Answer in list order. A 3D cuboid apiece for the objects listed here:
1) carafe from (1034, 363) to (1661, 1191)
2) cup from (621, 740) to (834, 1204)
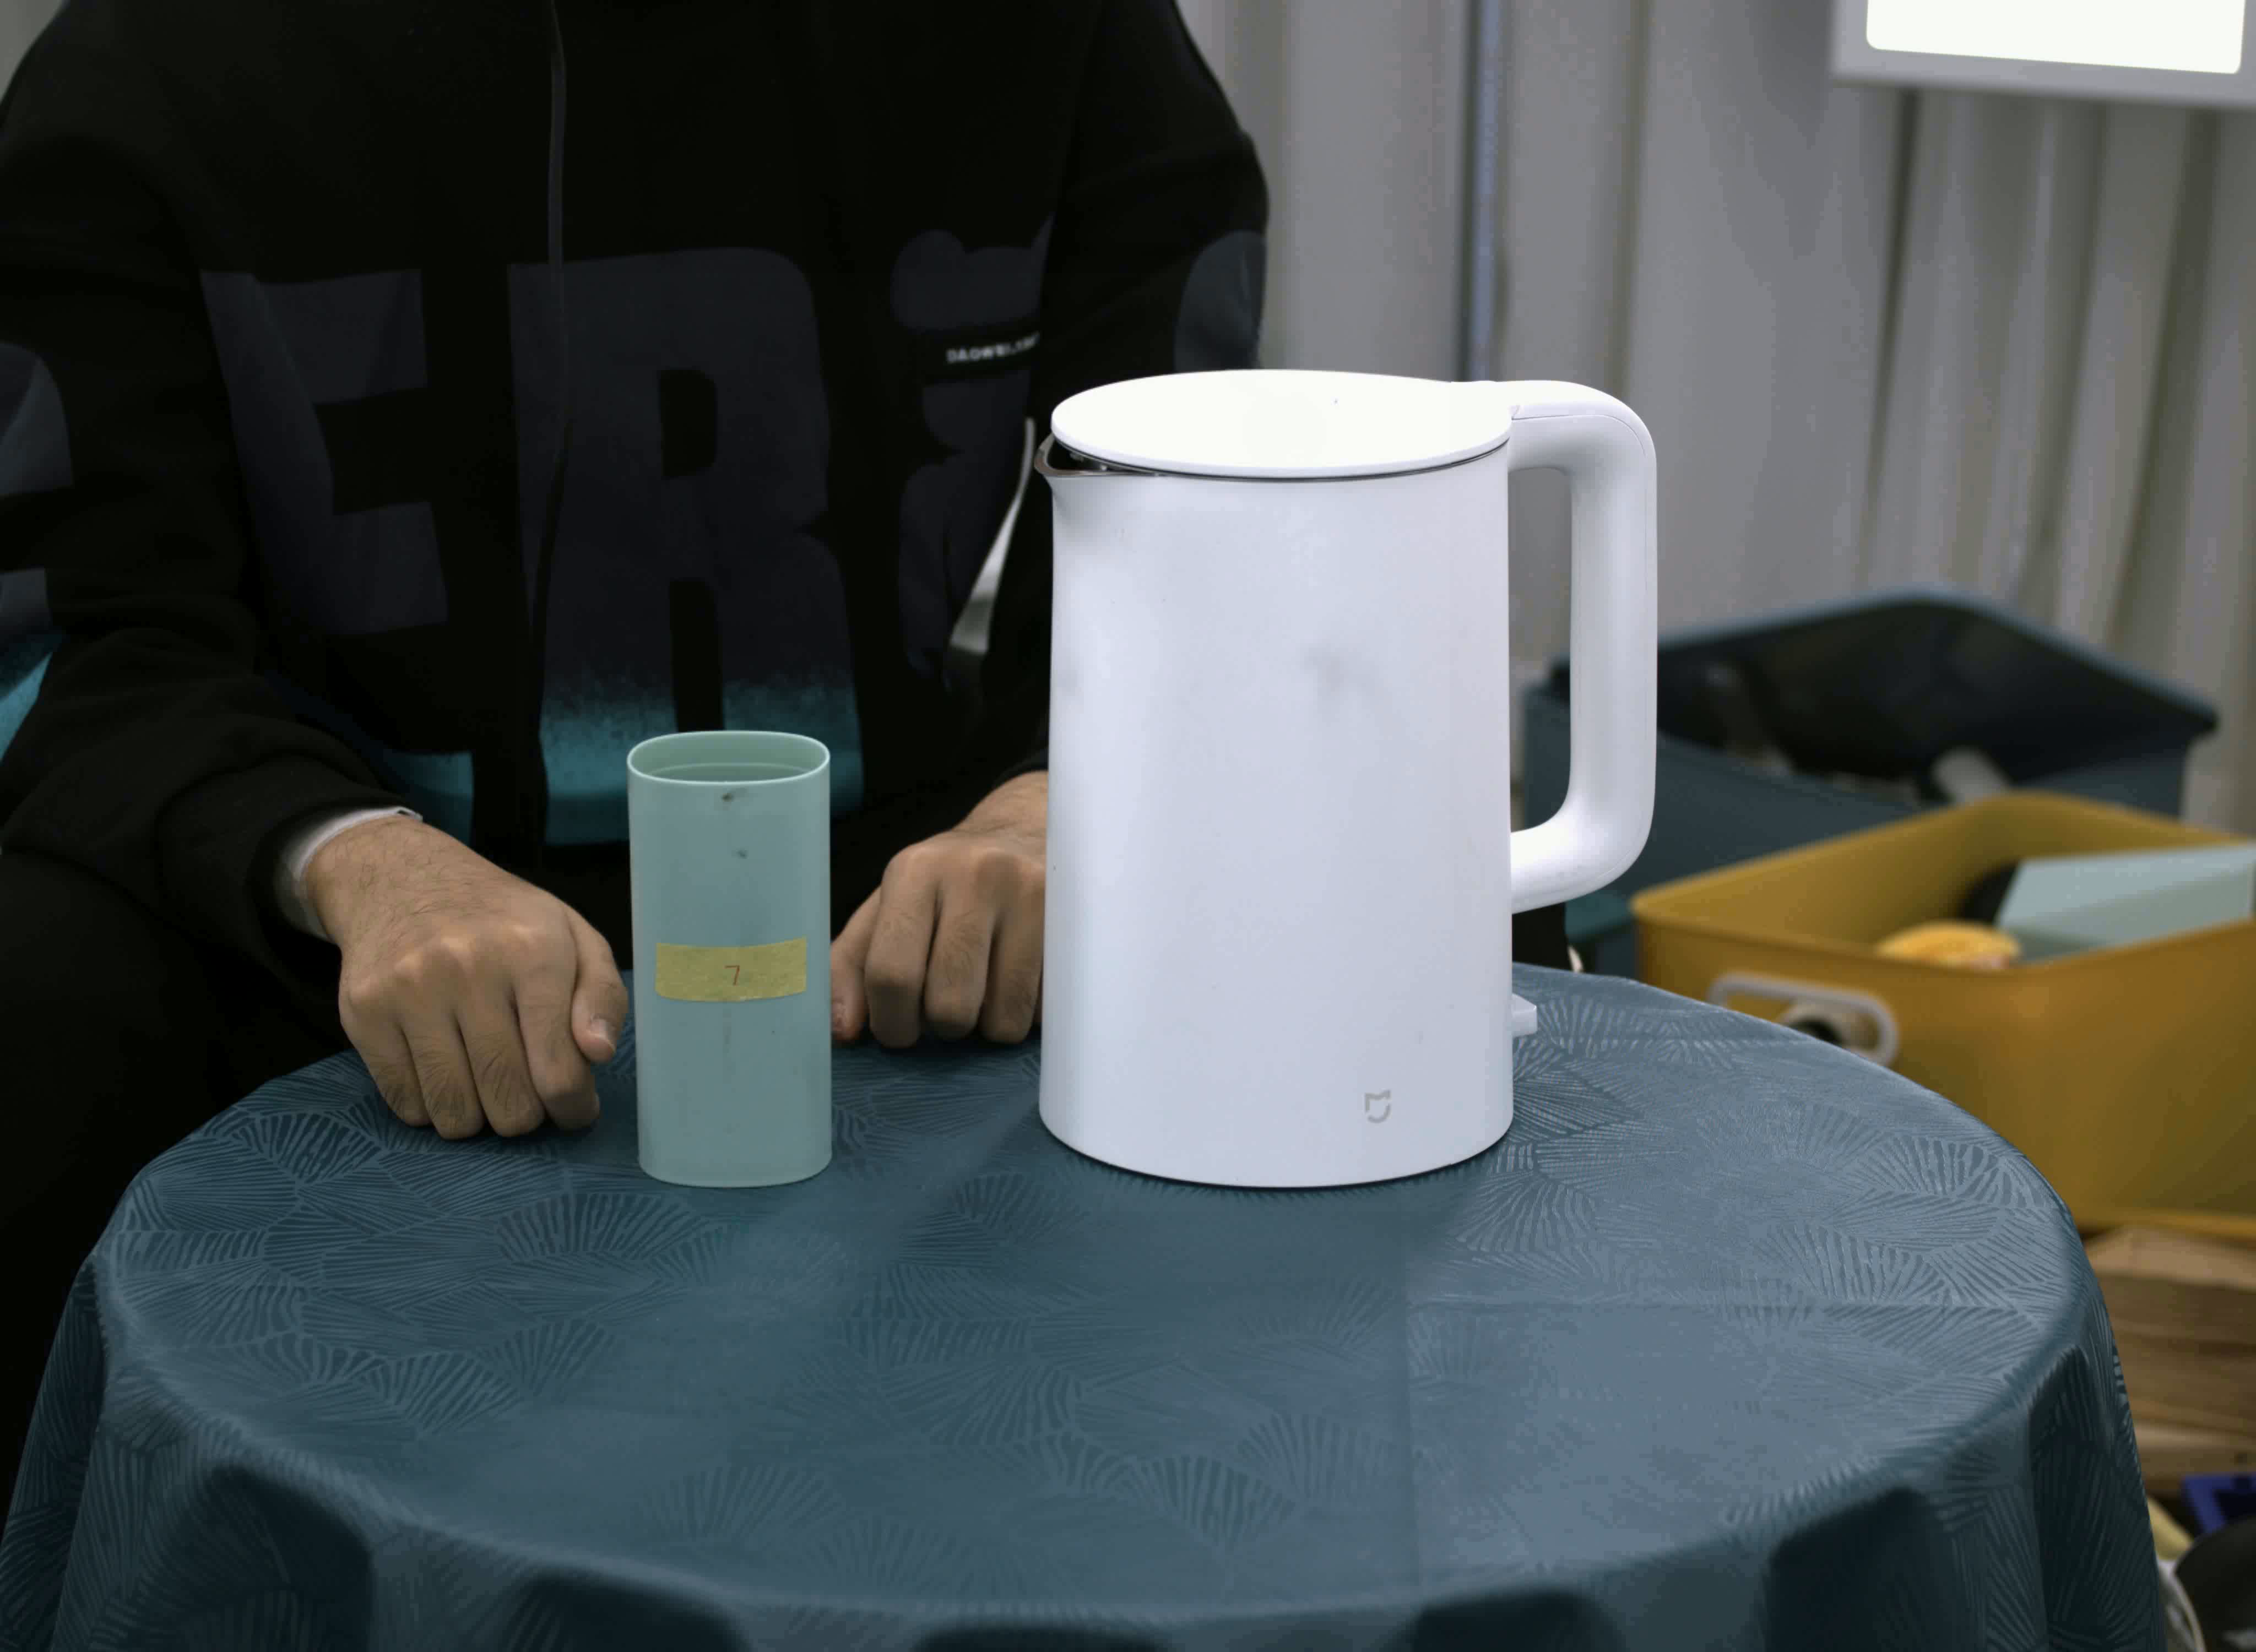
[{"bbox_3d":[0.072,-0.021,1.667,0.214,0.242,0.150,-8,19,-24],"label":"carafe"},{"bbox_3d":[-0.123,0.044,1.628,0.066,0.133,0.066,0,17,1],"label":"cup"}]
